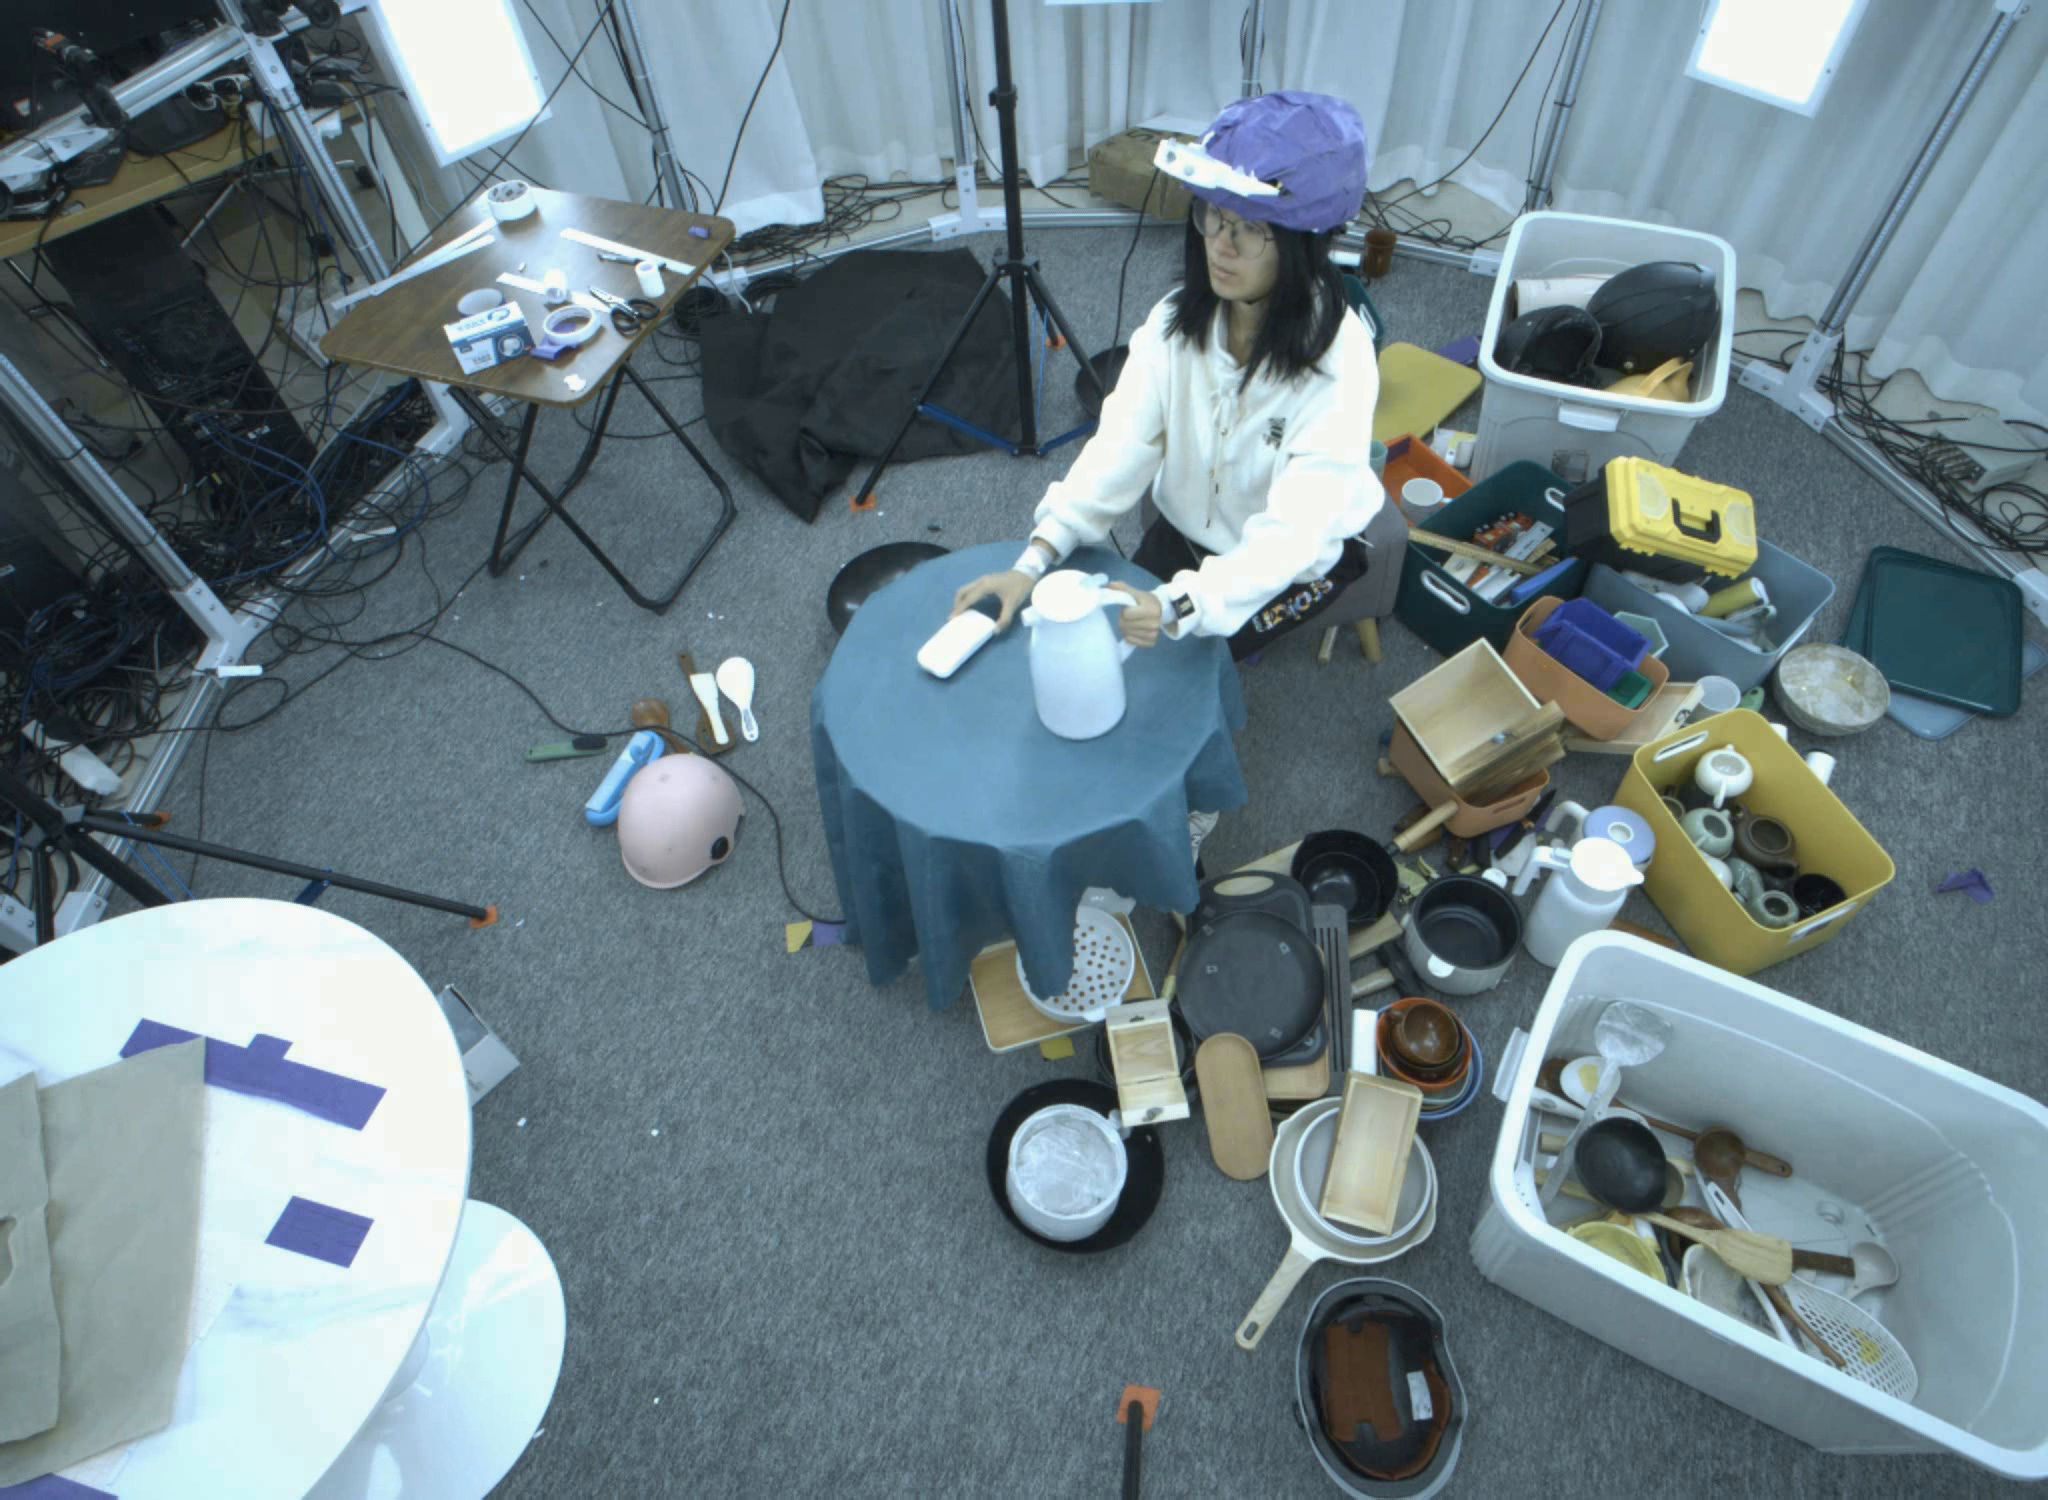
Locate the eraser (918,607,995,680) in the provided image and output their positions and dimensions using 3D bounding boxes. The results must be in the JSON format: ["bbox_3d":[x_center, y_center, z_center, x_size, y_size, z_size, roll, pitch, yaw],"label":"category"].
[{"bbox_3d":[-0.102,-0.165,1.889,0.062,0.035,0.132,34,63,21],"label":"eraser"}]

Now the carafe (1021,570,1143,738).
[{"bbox_3d":[0.087,-0.147,1.729,0.168,0.252,0.130,-20,55,-7],"label":"carafe"}]
